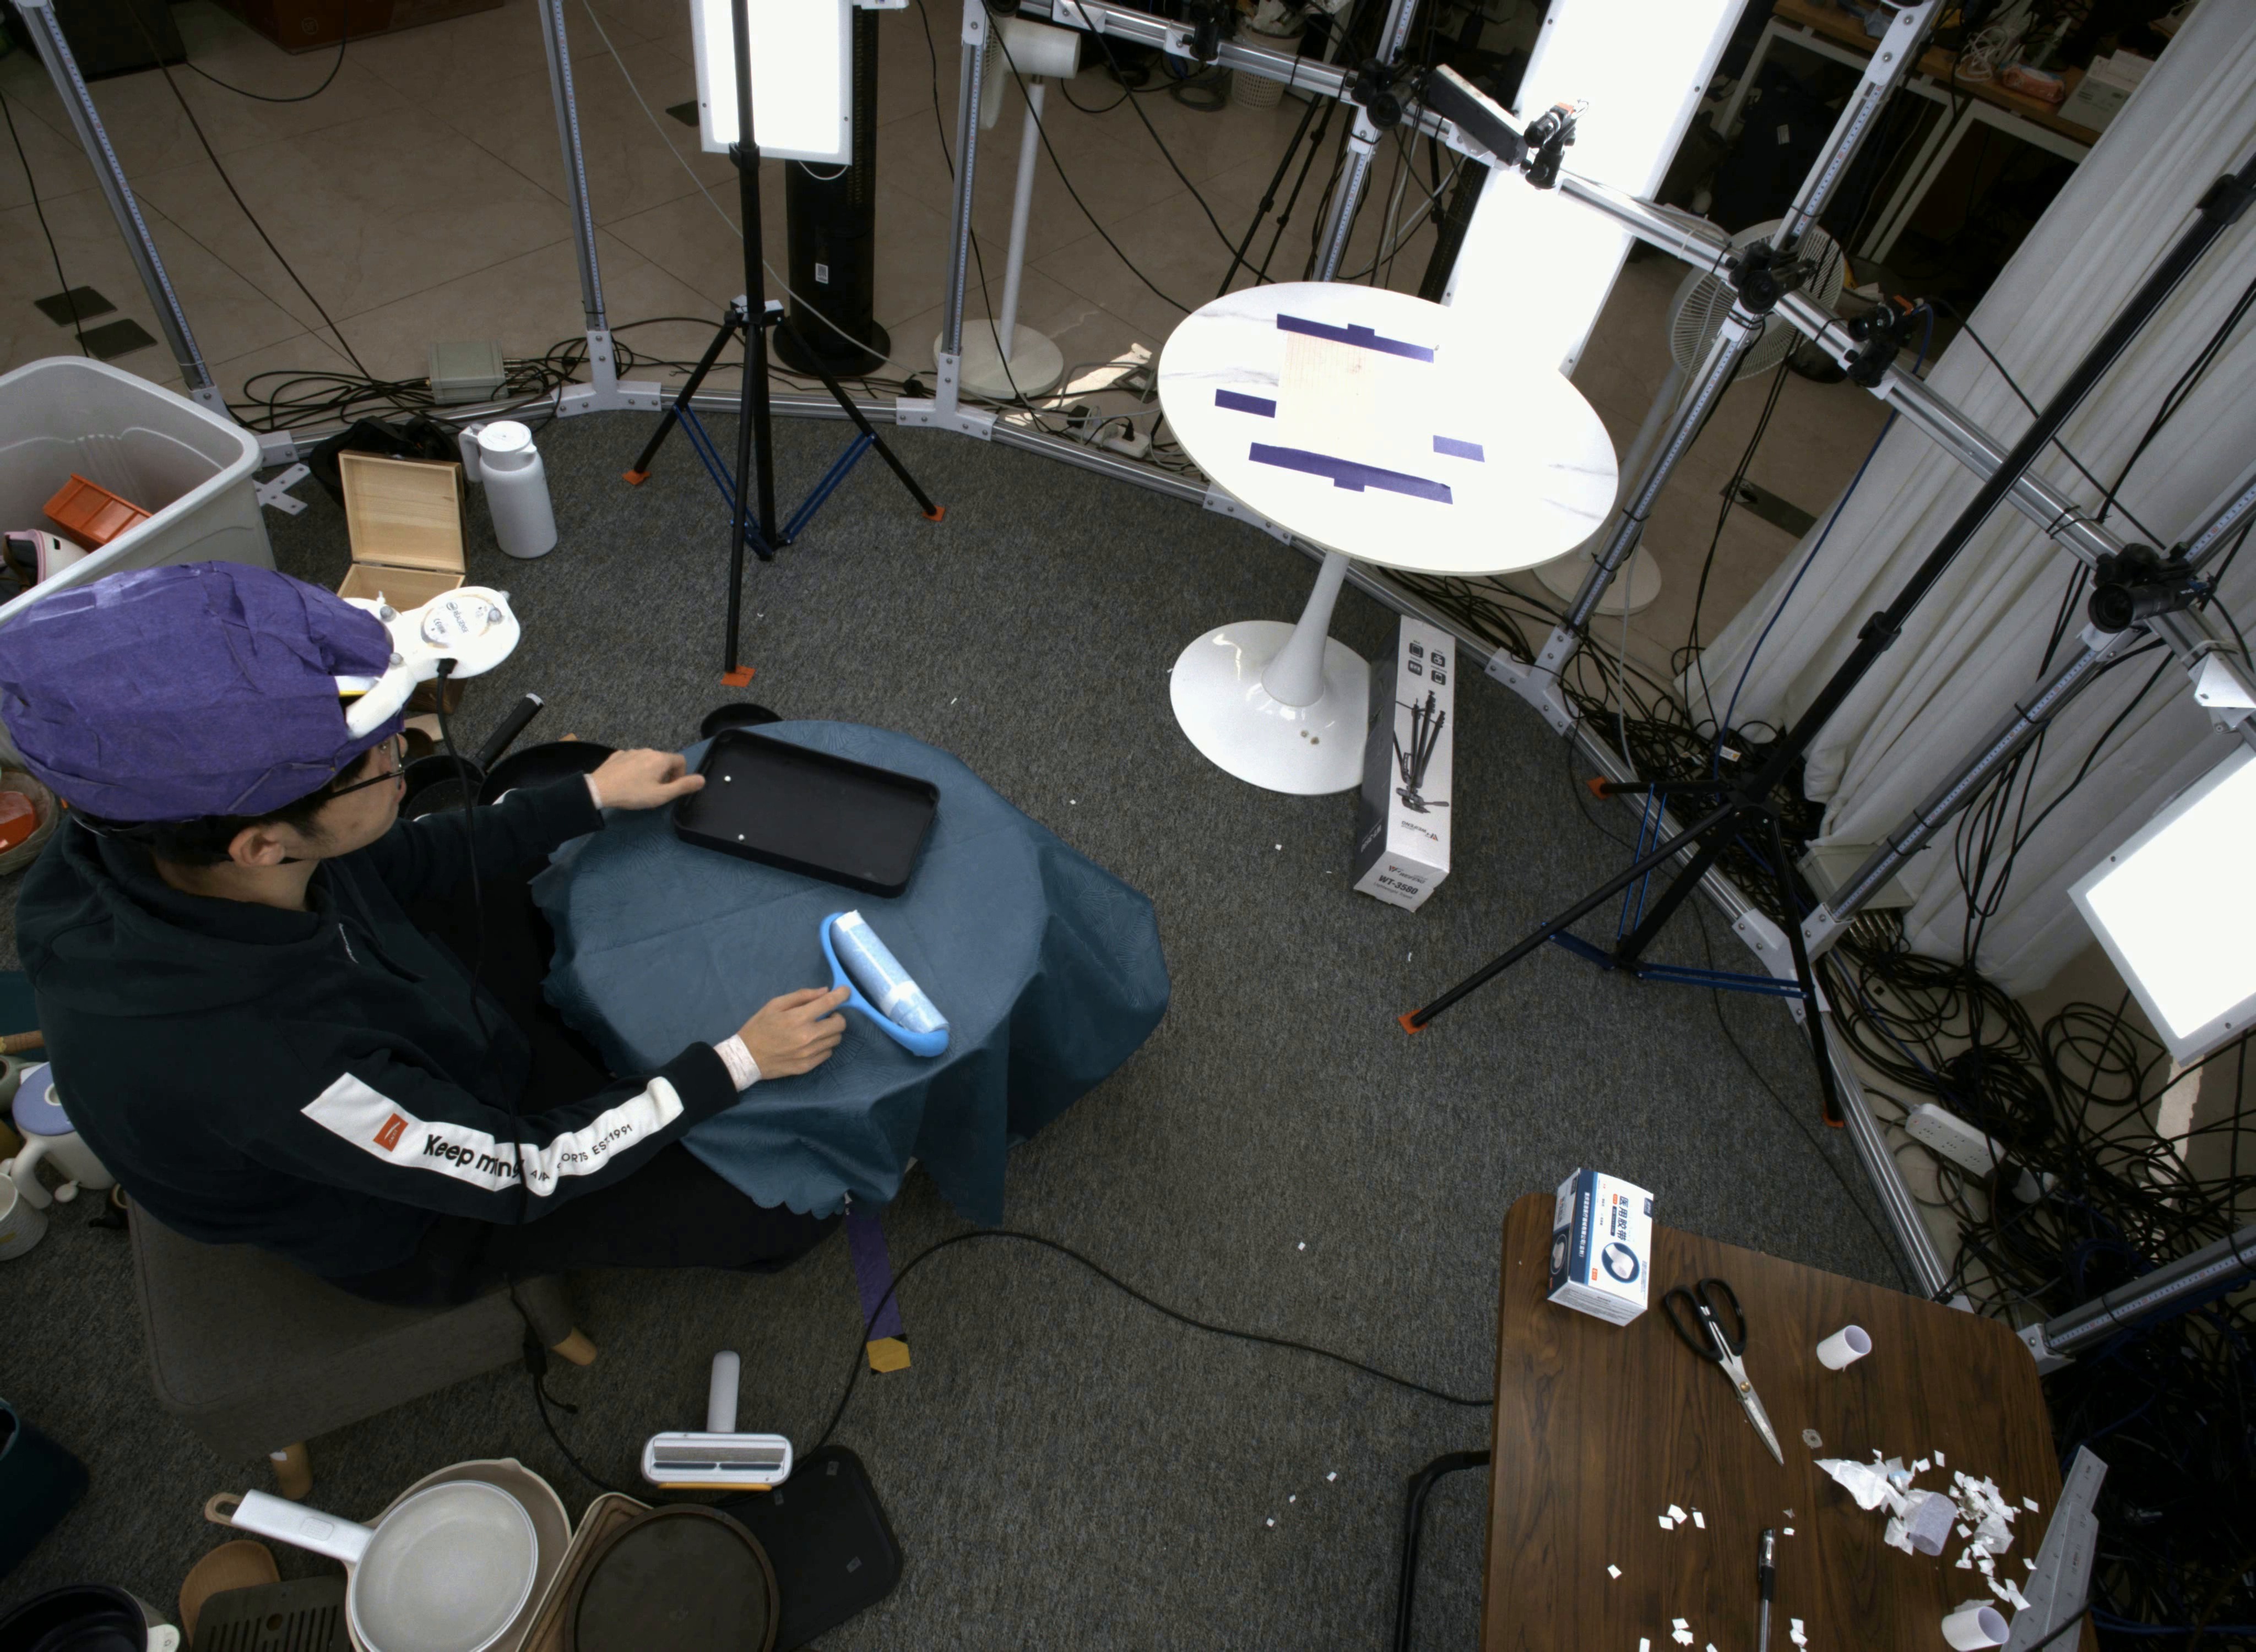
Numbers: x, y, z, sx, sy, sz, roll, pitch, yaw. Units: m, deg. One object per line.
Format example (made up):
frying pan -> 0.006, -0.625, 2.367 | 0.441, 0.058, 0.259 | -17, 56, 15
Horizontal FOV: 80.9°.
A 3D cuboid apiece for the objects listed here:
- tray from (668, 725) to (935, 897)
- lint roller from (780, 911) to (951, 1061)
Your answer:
tray -> -0.430, -0.022, 1.723 | 0.316, 0.038, 0.182 | 15, 52, -5
lint roller -> -0.337, 0.214, 1.557 | 0.181, 0.069, 0.224 | -34, 70, -33
